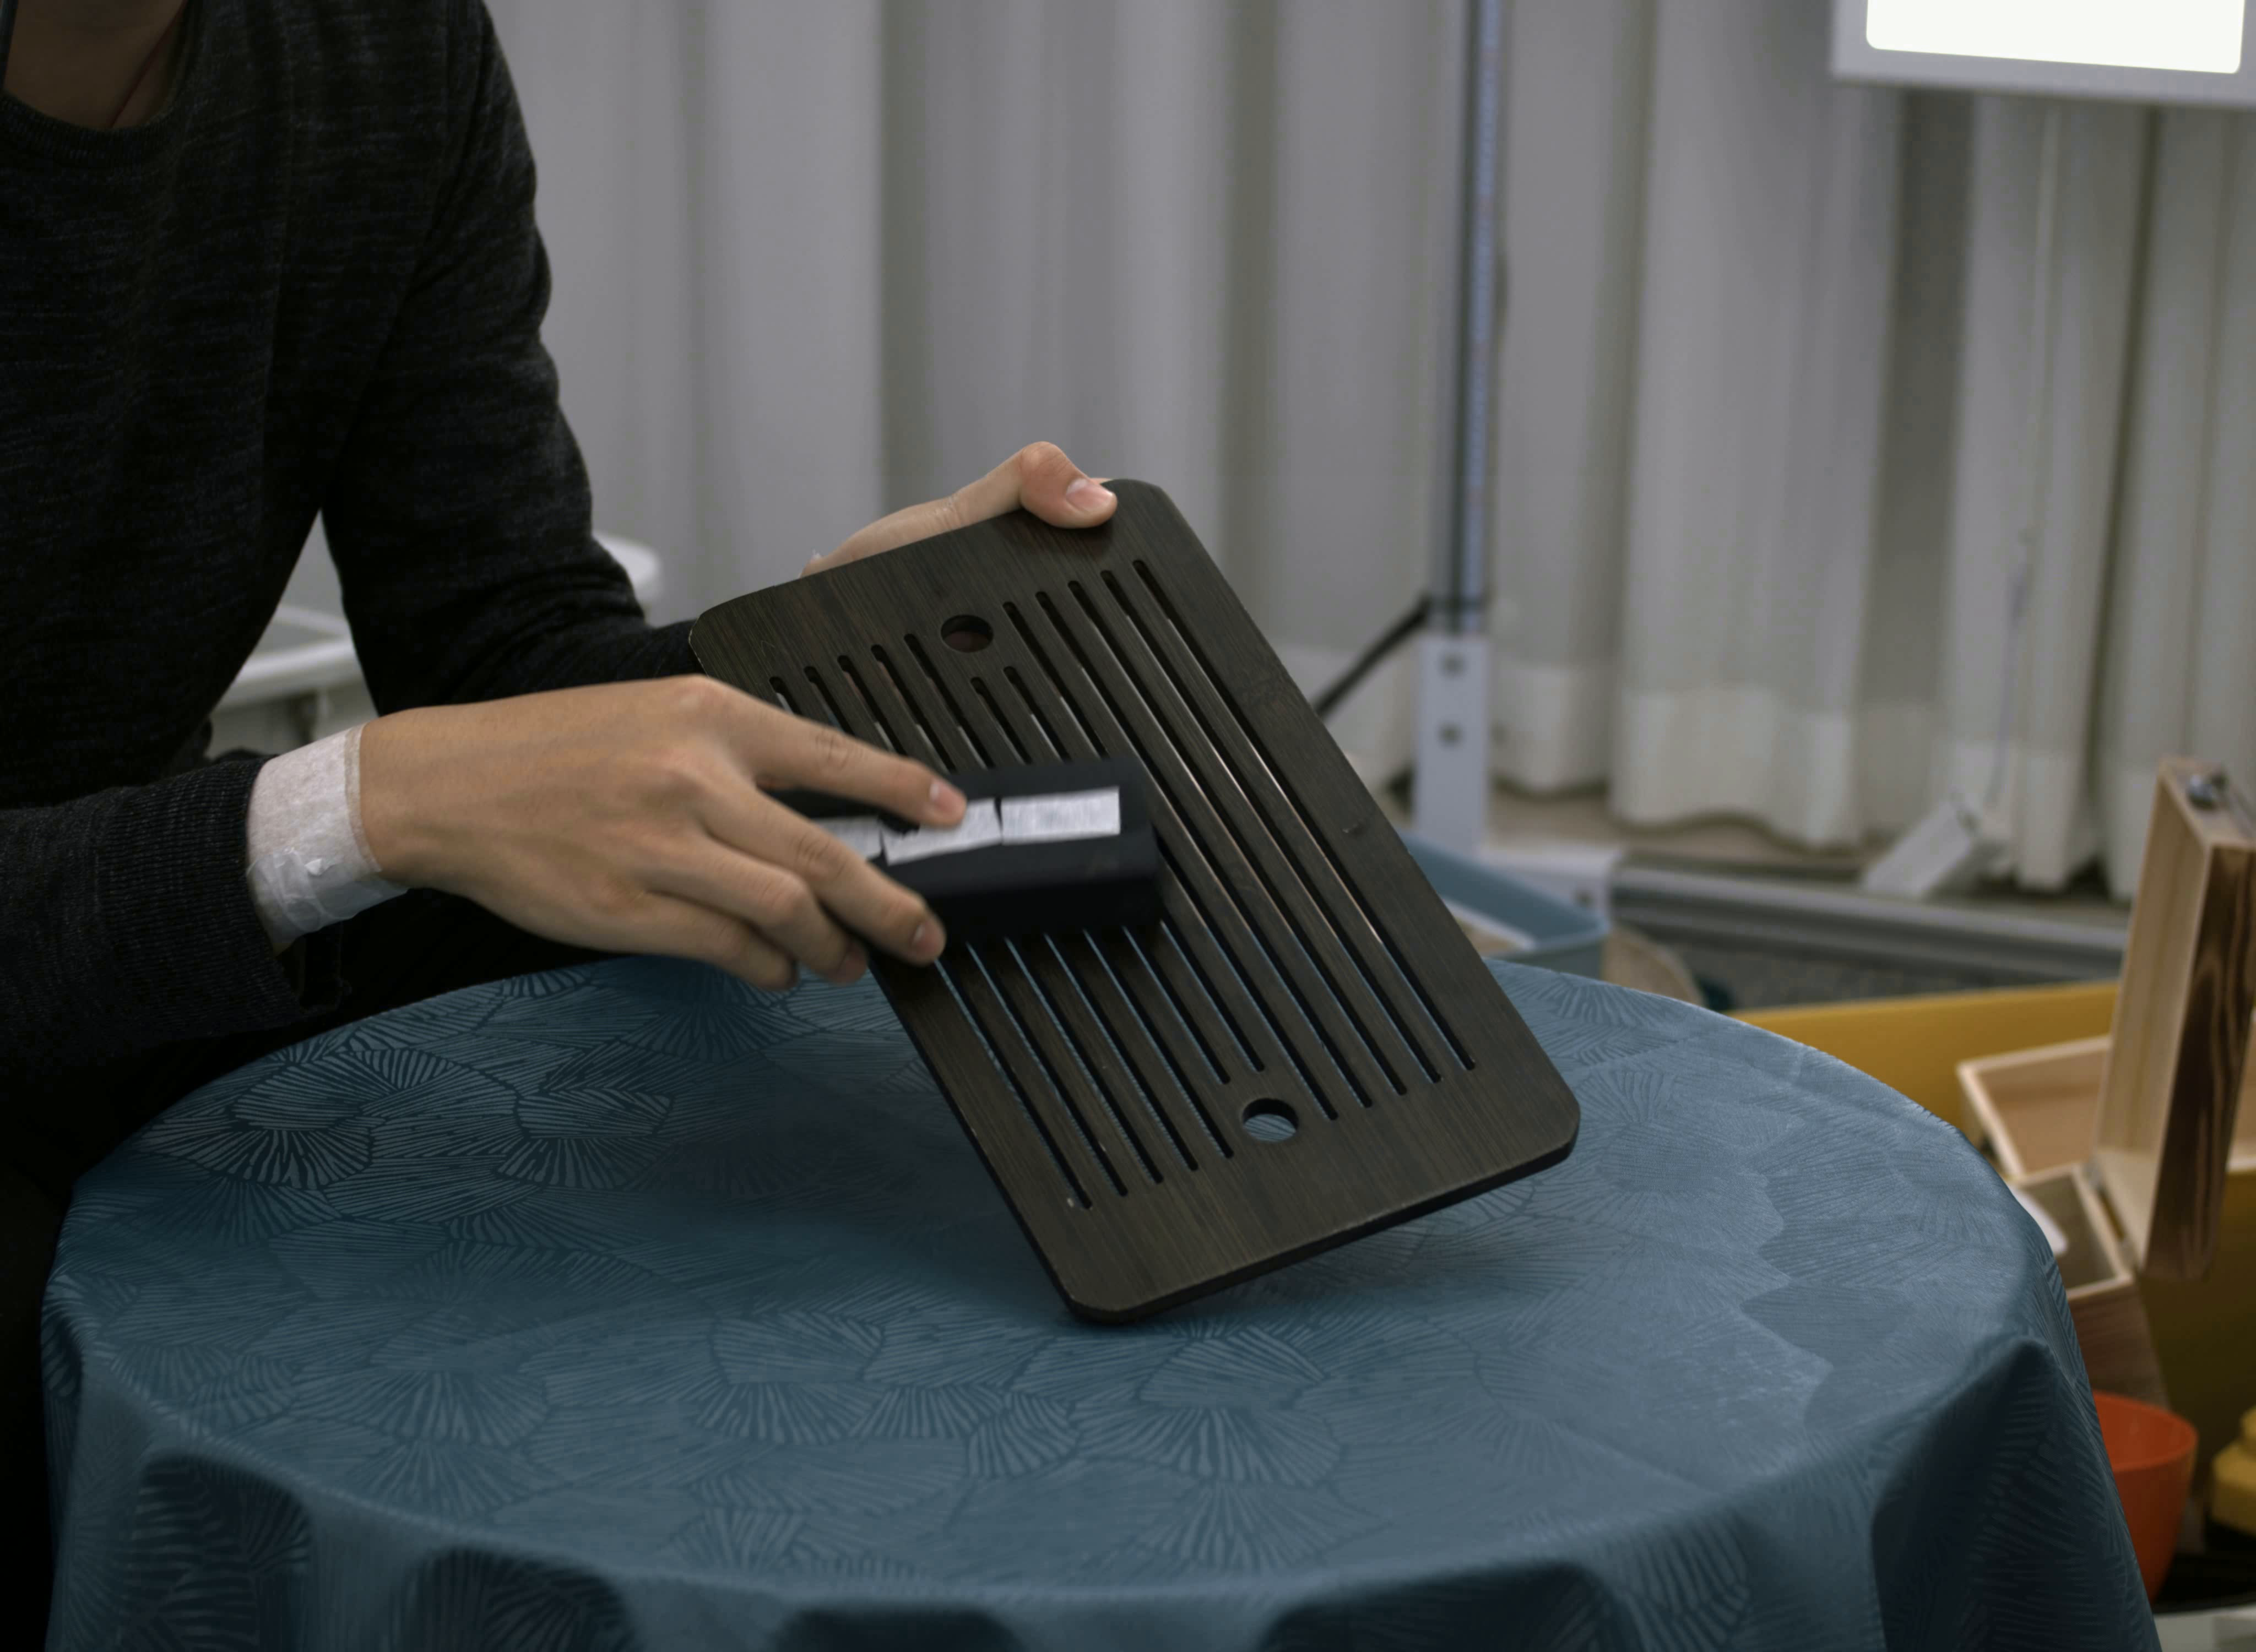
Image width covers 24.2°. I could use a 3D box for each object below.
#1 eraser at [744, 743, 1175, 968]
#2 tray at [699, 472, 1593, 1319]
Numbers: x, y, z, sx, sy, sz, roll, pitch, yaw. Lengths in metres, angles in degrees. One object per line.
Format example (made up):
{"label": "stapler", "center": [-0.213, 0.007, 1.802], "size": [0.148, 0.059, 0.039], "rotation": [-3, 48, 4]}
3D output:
{"label": "eraser", "center": [-0.051, 0.008, 1.594], "size": [0.125, 0.031, 0.053], "rotation": [-8, 47, -8]}
{"label": "tray", "center": [0.001, 0.015, 1.618], "size": [0.170, 0.019, 0.302], "rotation": [-19, 53, -19]}
